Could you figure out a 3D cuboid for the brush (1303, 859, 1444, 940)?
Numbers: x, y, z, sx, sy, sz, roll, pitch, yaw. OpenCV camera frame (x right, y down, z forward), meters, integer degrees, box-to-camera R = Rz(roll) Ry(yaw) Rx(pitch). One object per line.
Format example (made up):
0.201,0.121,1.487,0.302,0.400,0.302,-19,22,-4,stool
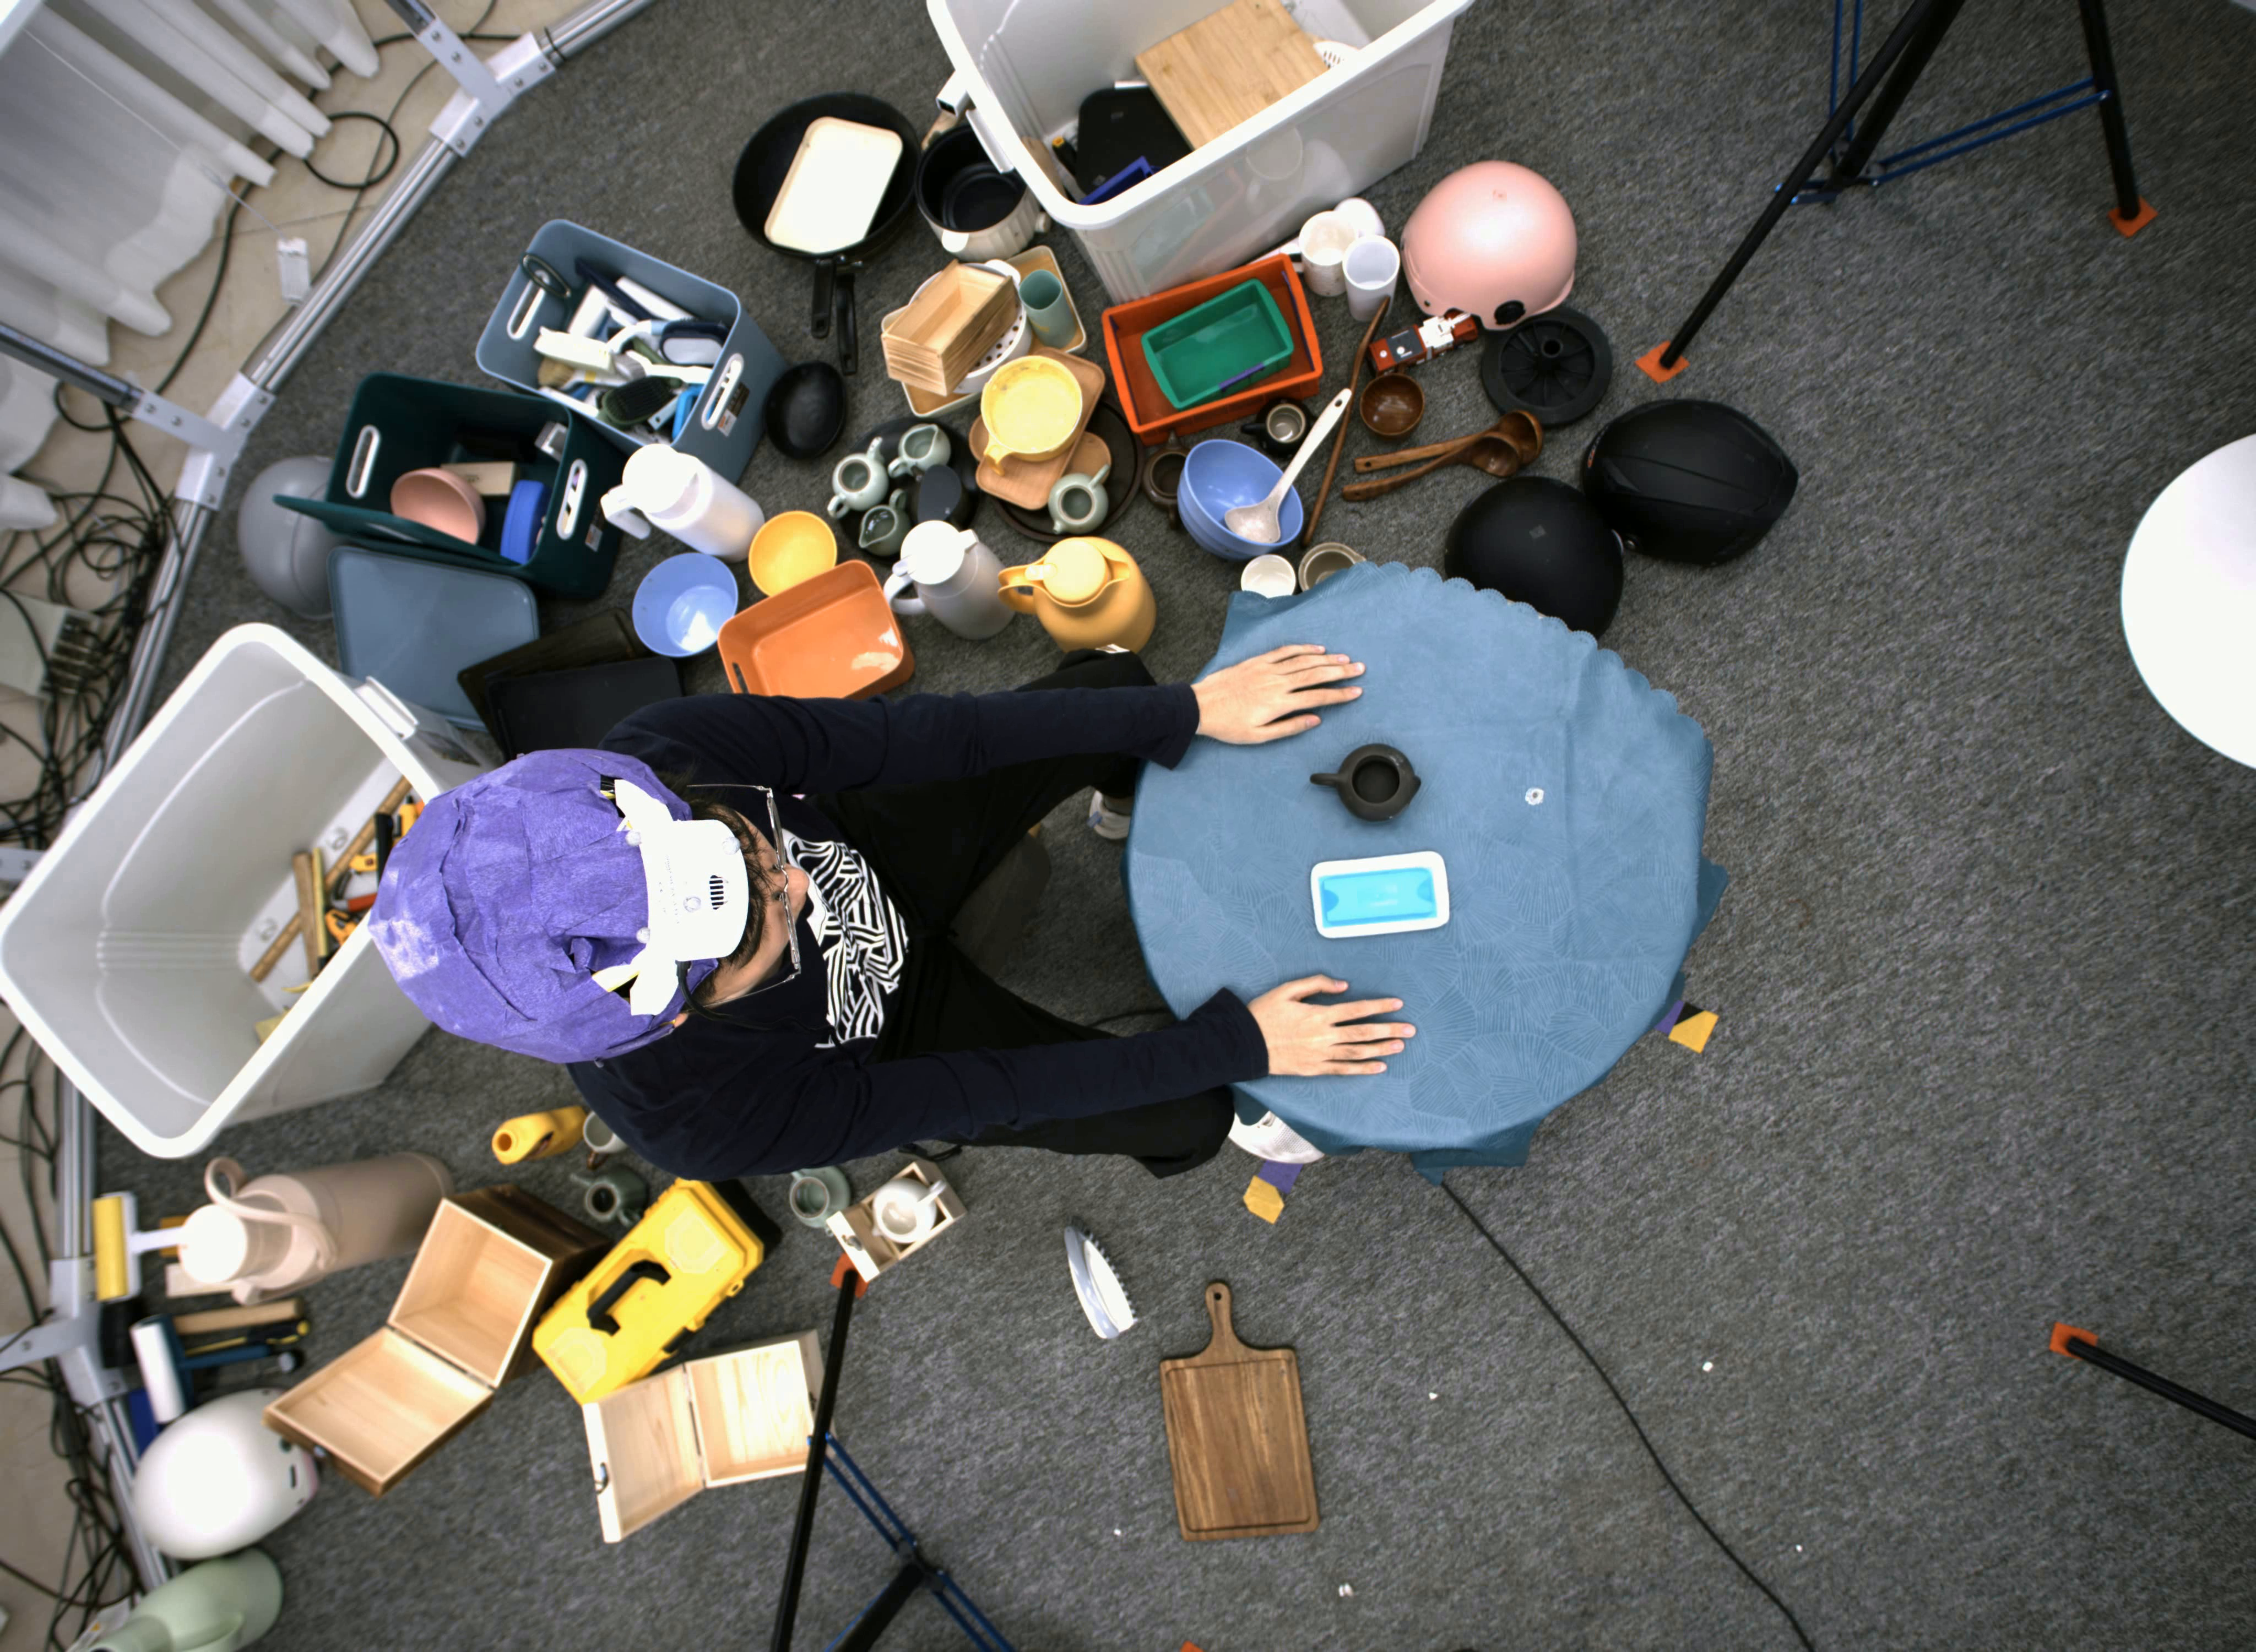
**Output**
0.254,0.072,1.431,0.144,0.056,0.083,-4,82,8,brush

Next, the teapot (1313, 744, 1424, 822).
0.251,-0.048,1.444,0.114,0.053,0.082,8,84,8,teapot
